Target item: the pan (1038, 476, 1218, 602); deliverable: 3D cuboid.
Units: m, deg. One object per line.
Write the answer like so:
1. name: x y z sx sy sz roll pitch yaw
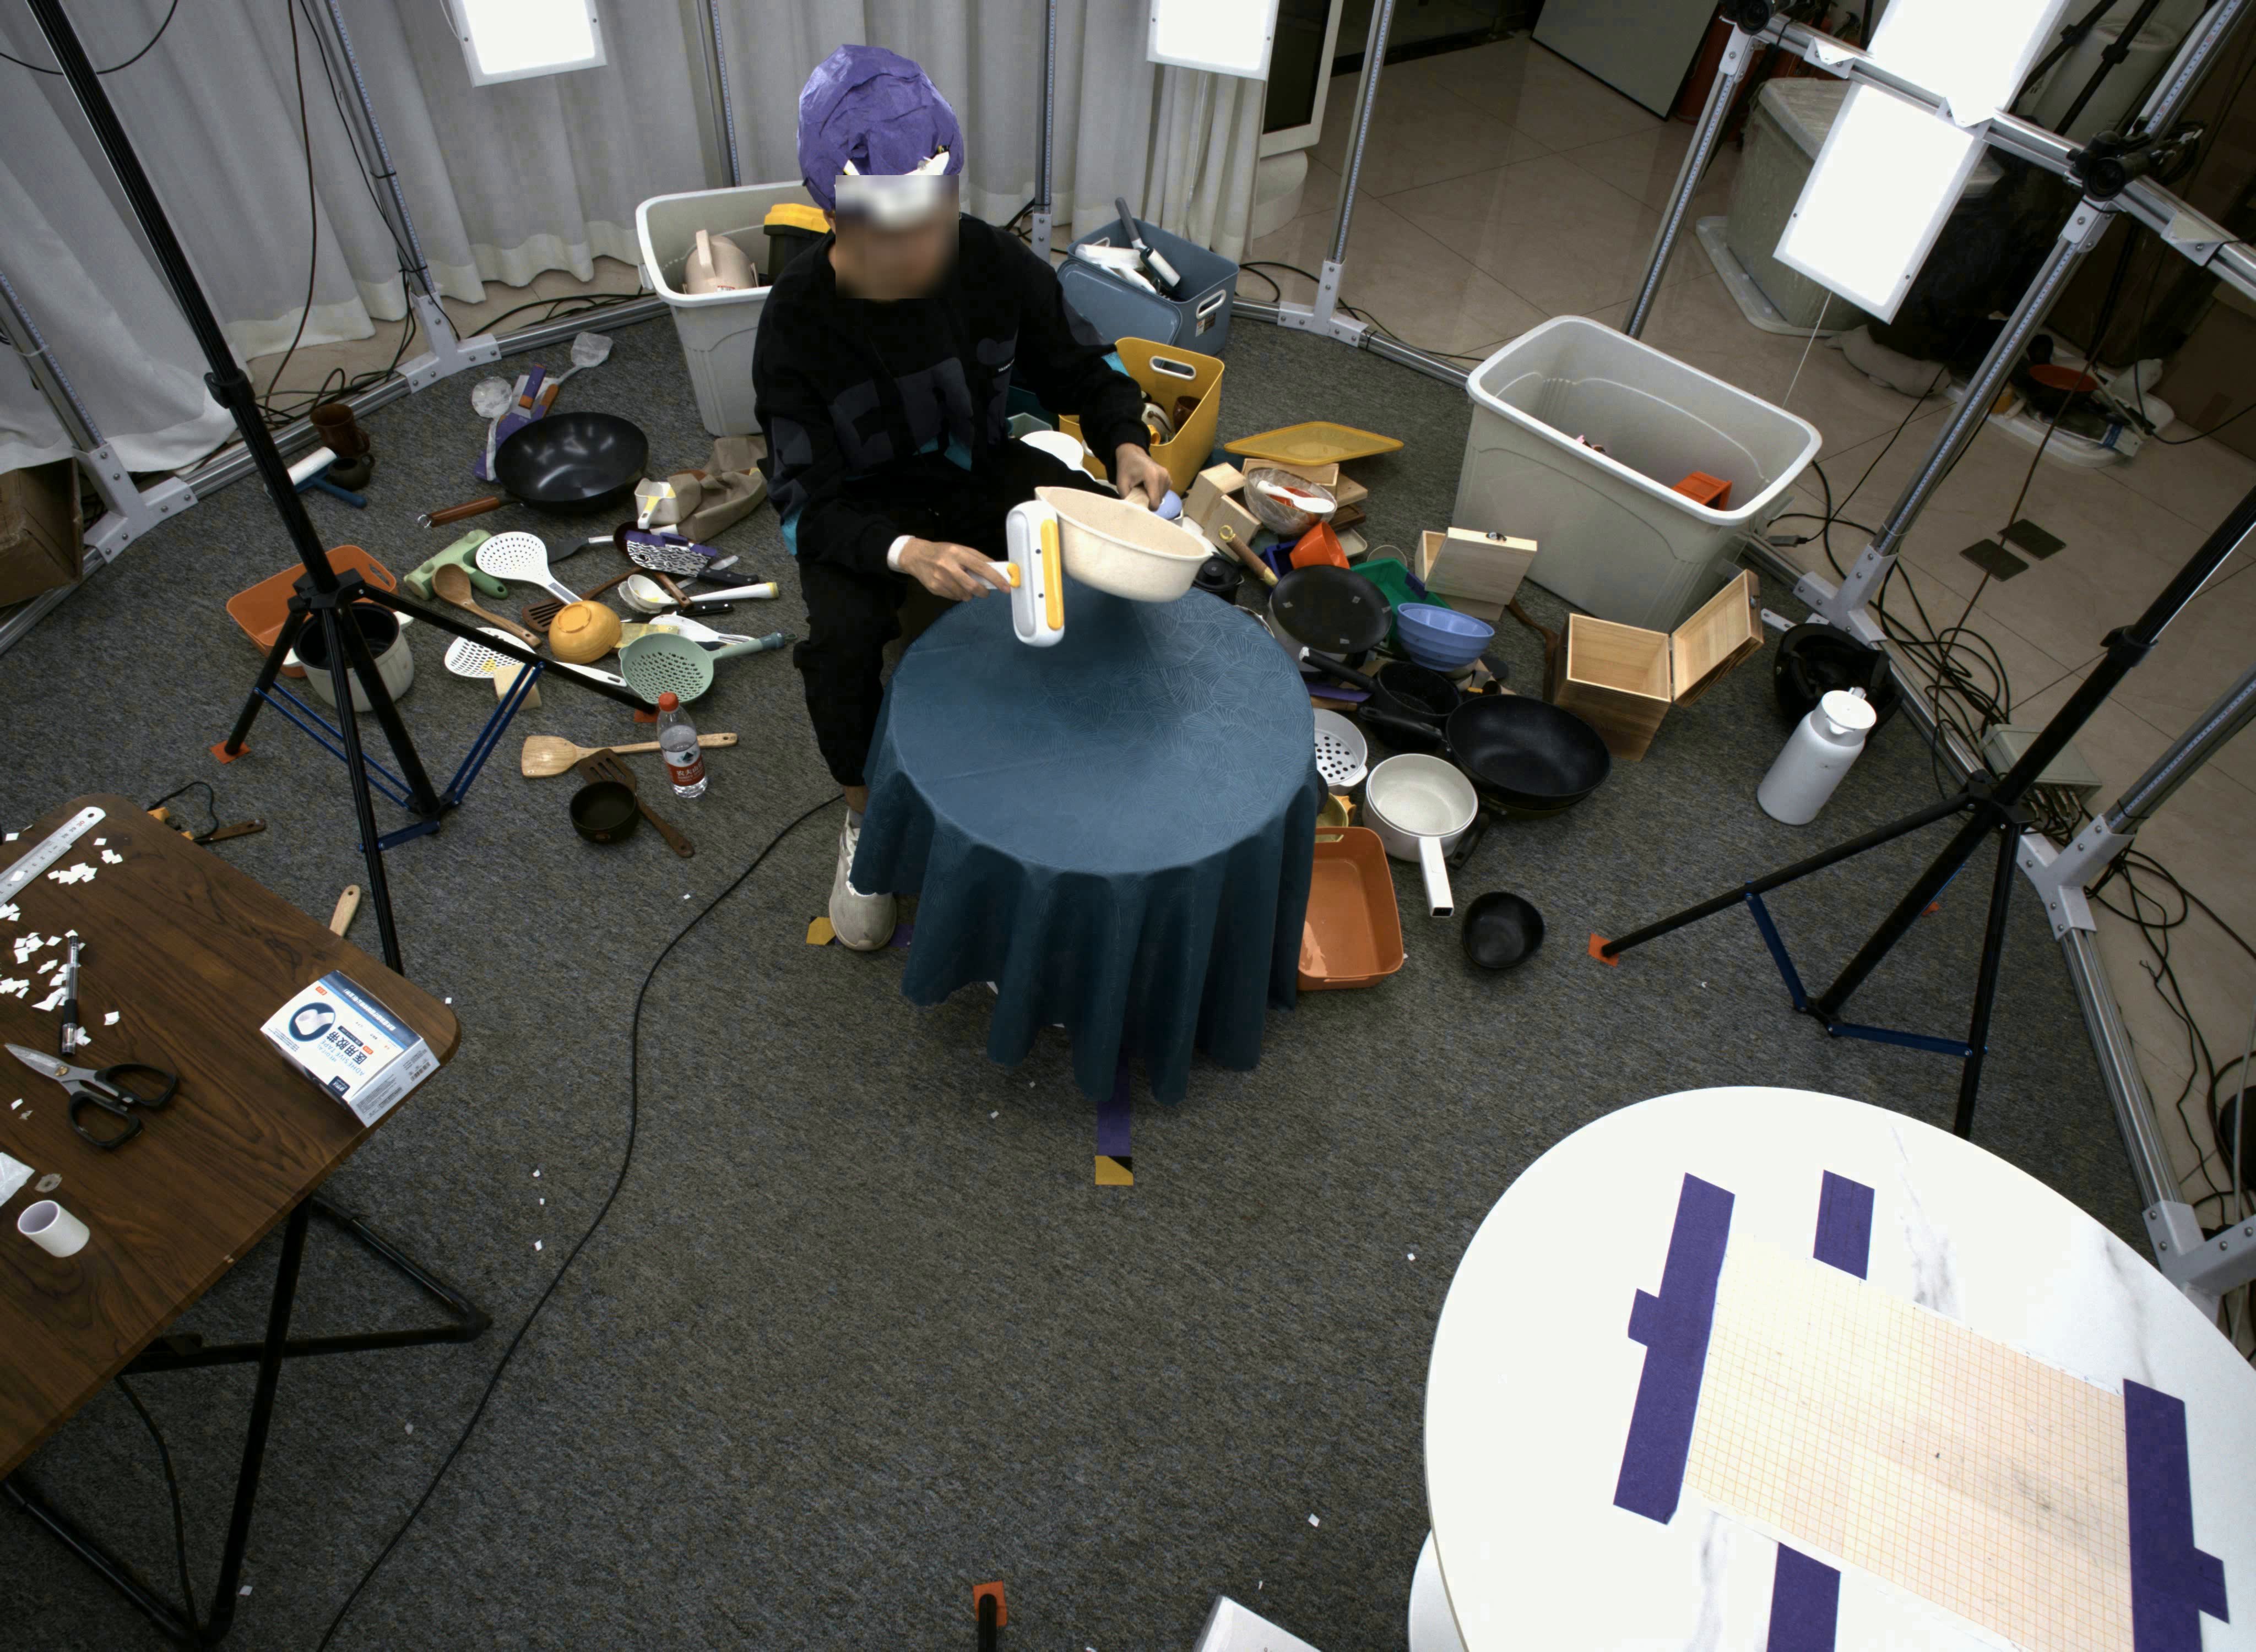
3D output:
1. pan: 0.001 -0.431 1.890 0.263 0.100 0.442 17 23 -1

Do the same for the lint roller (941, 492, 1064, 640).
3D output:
1. lint roller: -0.173 -0.346 1.751 0.193 0.191 0.074 3 18 44
